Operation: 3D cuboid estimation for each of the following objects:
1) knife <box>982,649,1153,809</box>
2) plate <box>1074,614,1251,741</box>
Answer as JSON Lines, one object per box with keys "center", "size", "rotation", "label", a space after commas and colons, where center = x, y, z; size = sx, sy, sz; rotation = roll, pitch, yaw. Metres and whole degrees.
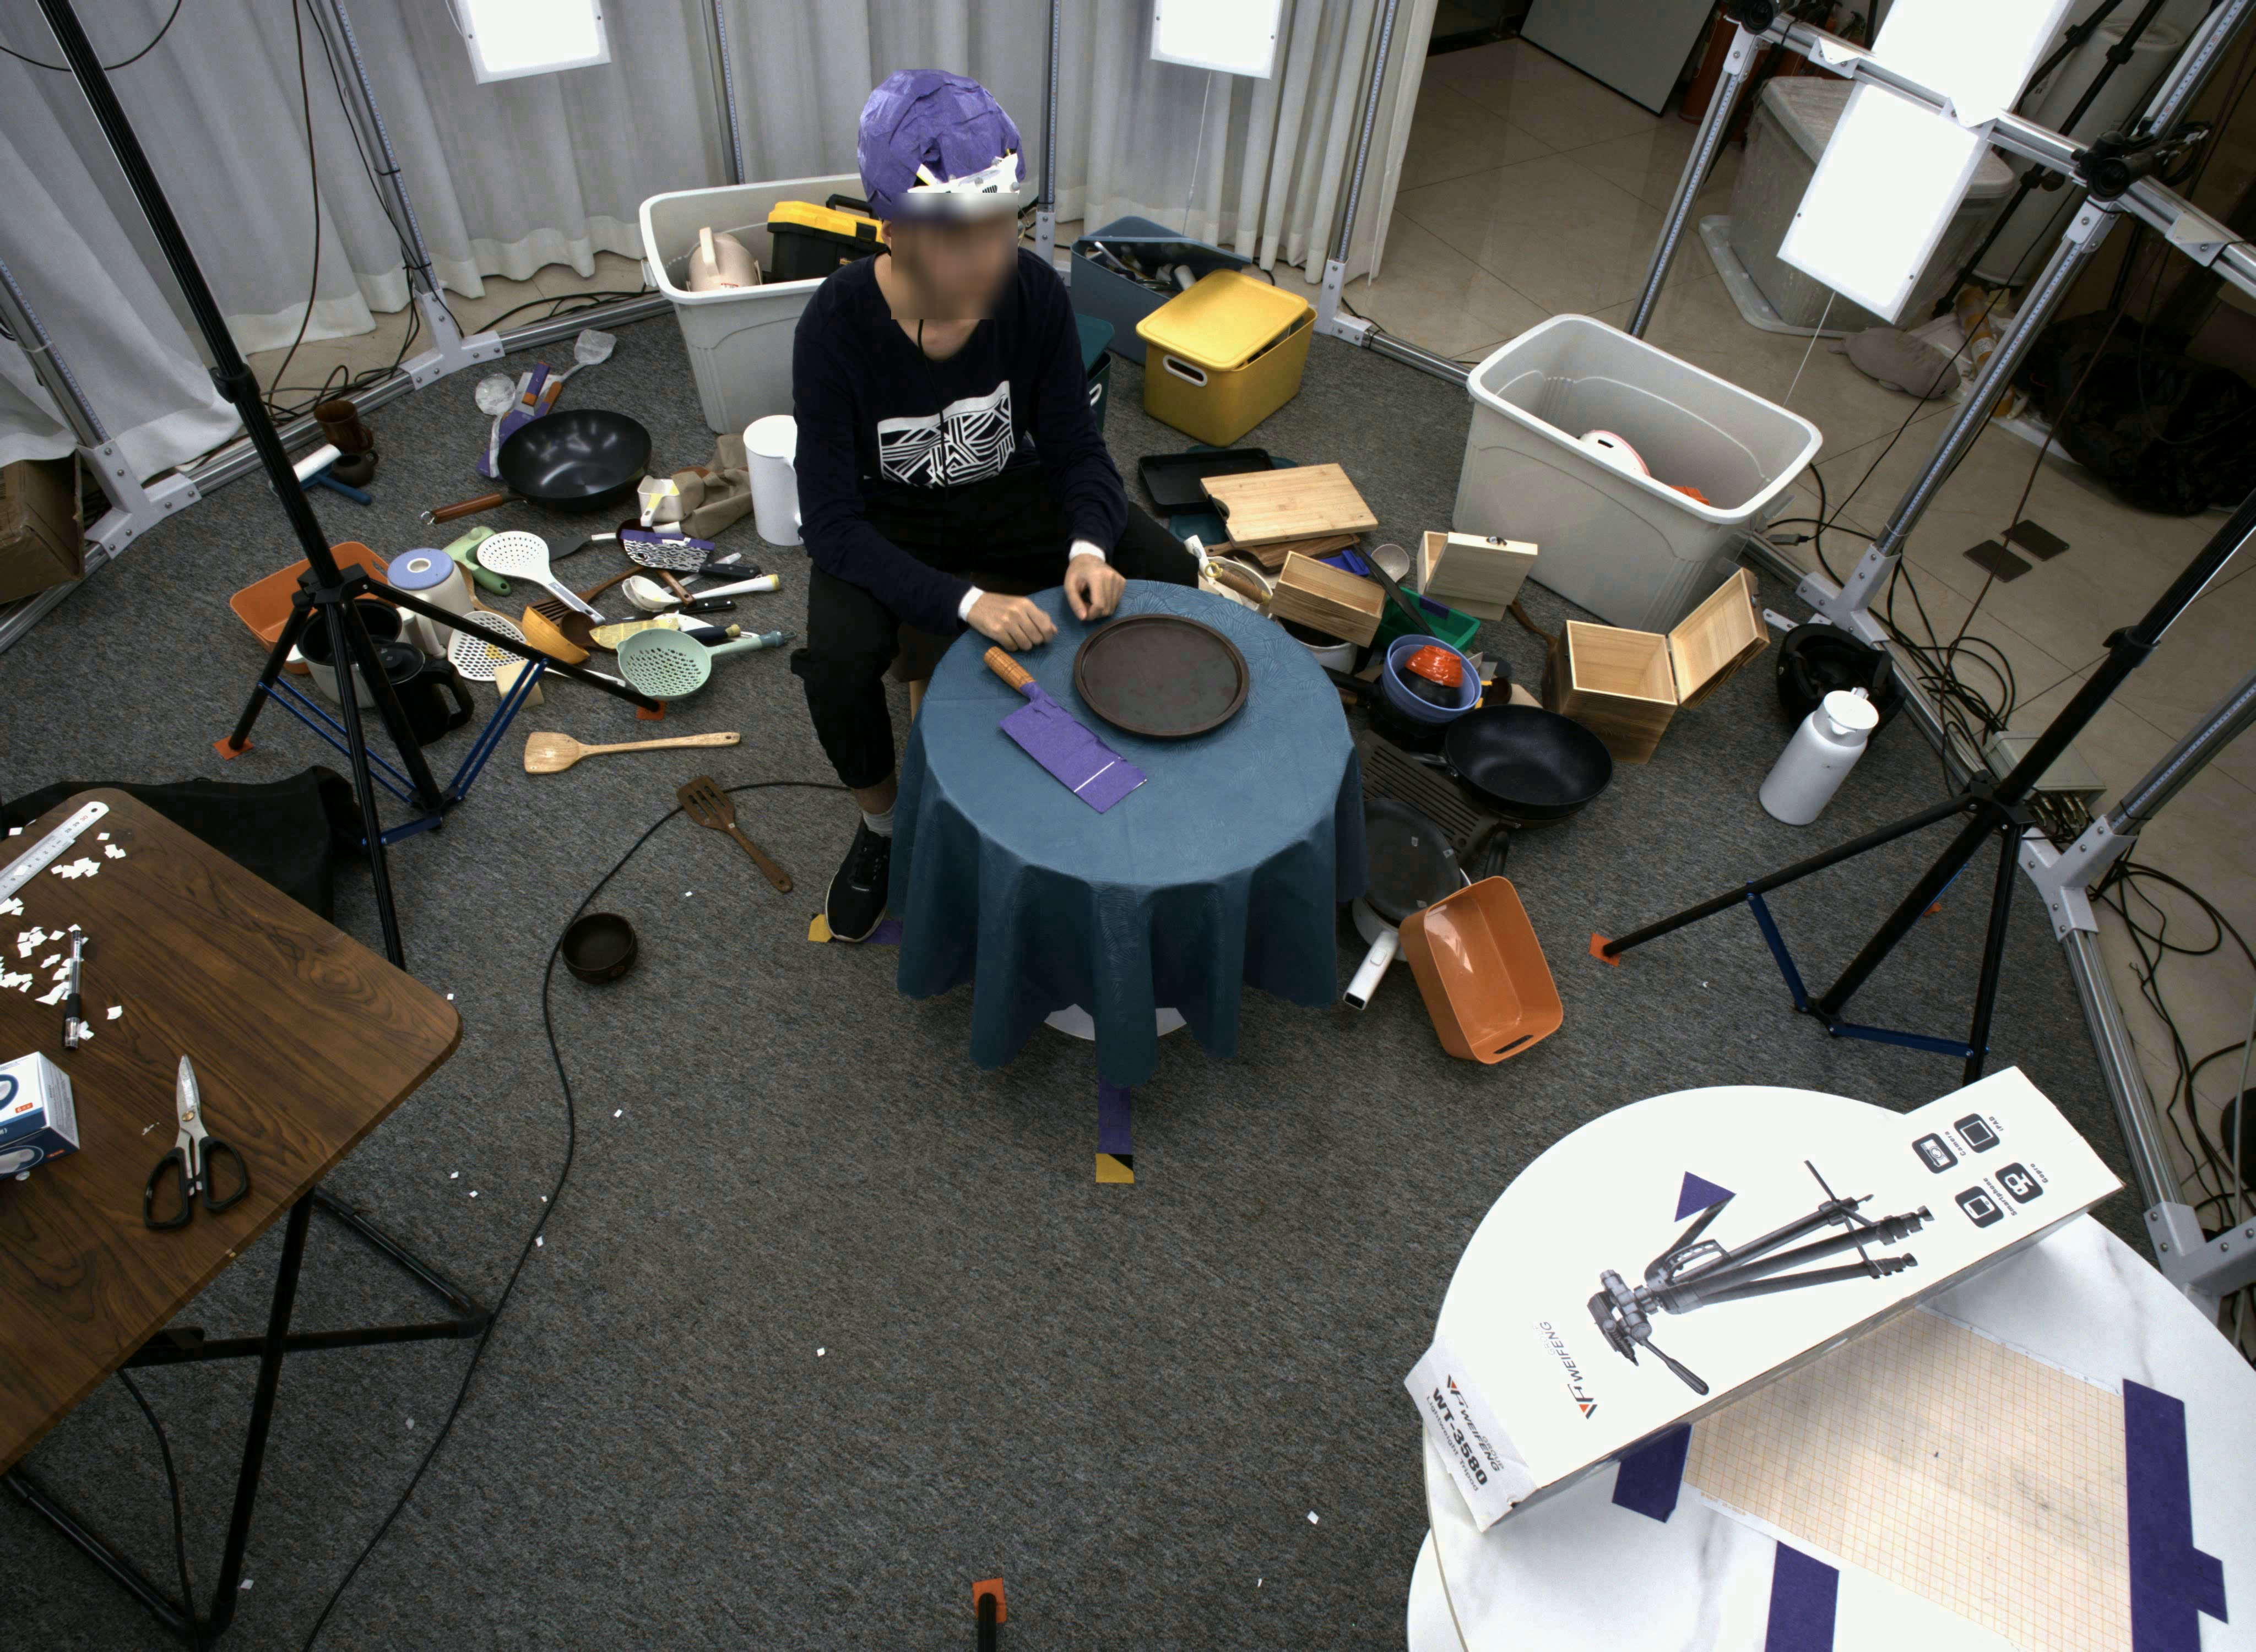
{"center": [-0.110, -0.136, 1.760], "size": [0.105, 0.031, 0.320], "rotation": [-35, 60, -29], "label": "knife"}
{"center": [0.049, -0.215, 1.841], "size": [0.254, 0.028, 0.261], "rotation": [2, 50, -3], "label": "plate"}
